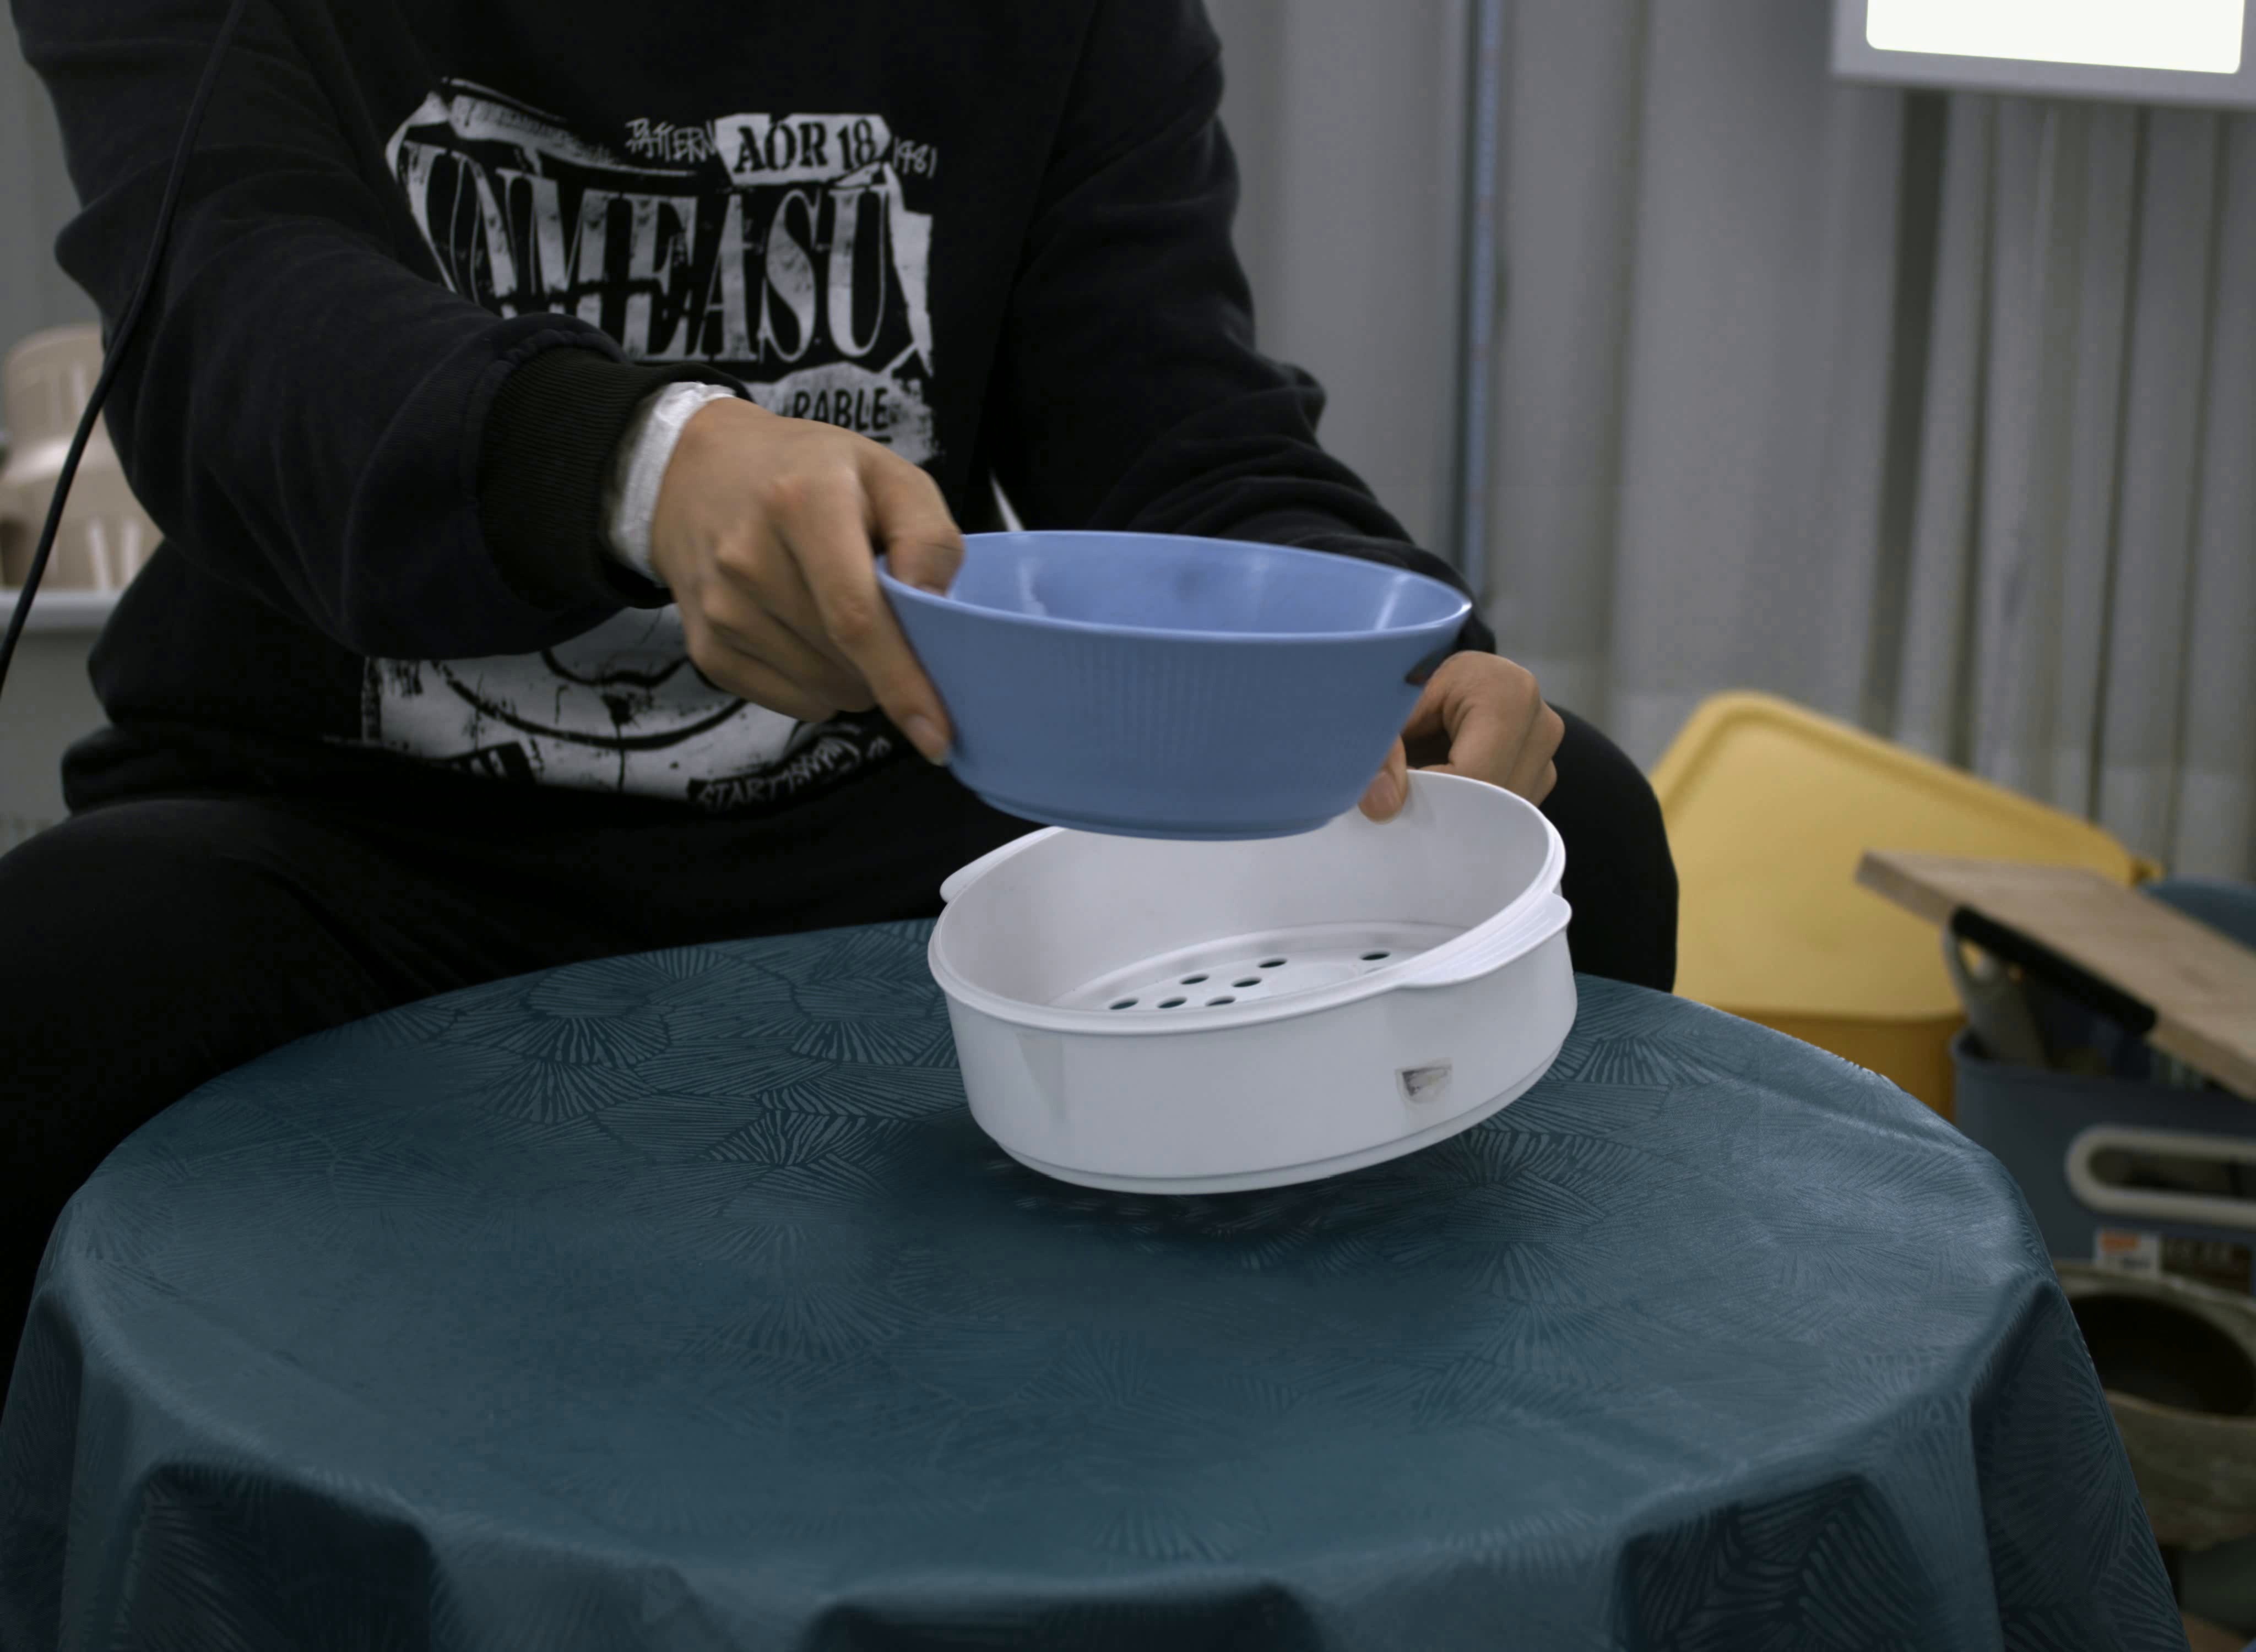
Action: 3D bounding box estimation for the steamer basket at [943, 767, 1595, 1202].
[{"bbox_3d":[0.045,0.049,1.642,0.227,0.070,0.202,12,30,41],"label":"steamer basket"}]

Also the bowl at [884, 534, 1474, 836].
[{"bbox_3d":[0.013,-0.041,1.558,0.175,0.071,0.175,4,12,0],"label":"bowl"}]
